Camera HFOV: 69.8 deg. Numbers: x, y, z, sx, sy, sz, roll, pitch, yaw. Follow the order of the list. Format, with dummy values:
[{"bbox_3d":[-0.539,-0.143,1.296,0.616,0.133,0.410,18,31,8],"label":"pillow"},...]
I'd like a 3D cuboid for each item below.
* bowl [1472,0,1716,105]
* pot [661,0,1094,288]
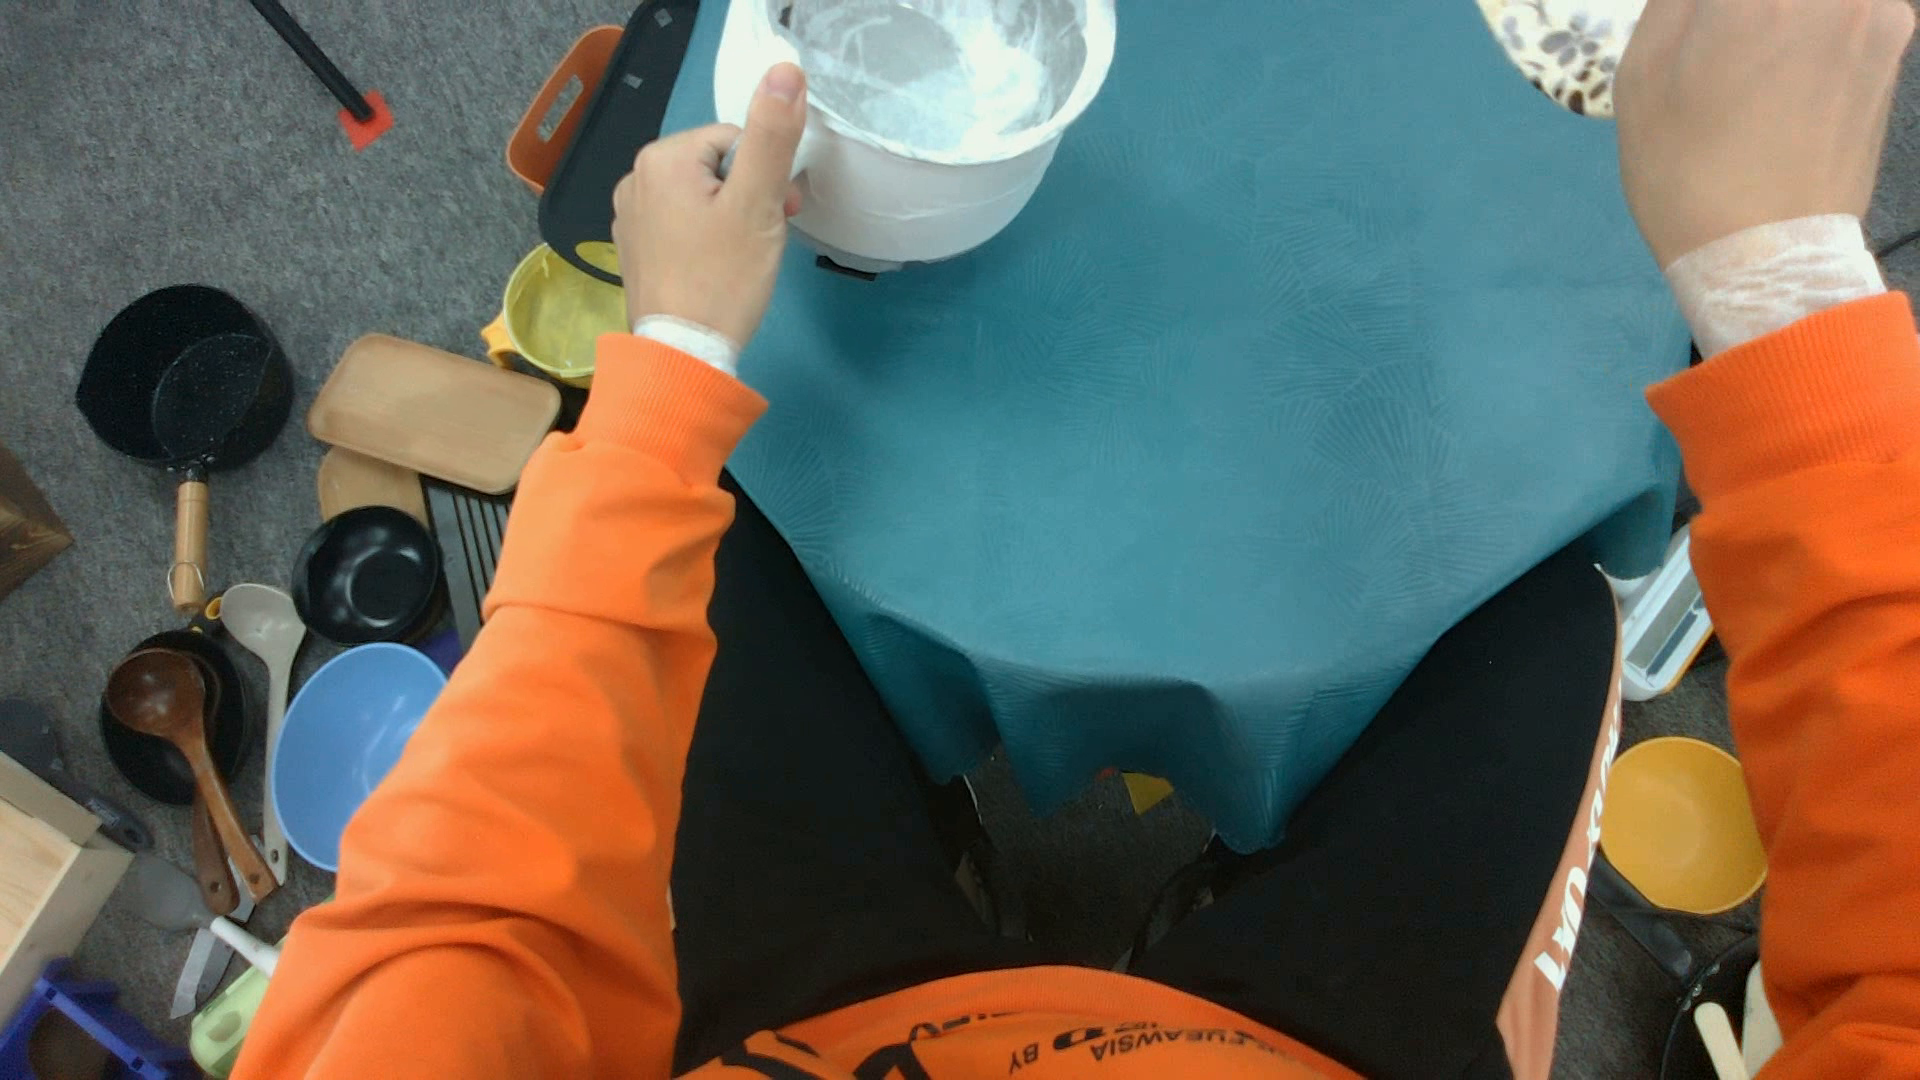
[{"bbox_3d":[0.255,-0.275,0.513,0.078,0.203,0.204,-20,73,-1],"label":"bowl"},{"bbox_3d":[-0.055,-0.223,0.676,0.178,0.136,0.234,40,68,-3],"label":"pot"}]
